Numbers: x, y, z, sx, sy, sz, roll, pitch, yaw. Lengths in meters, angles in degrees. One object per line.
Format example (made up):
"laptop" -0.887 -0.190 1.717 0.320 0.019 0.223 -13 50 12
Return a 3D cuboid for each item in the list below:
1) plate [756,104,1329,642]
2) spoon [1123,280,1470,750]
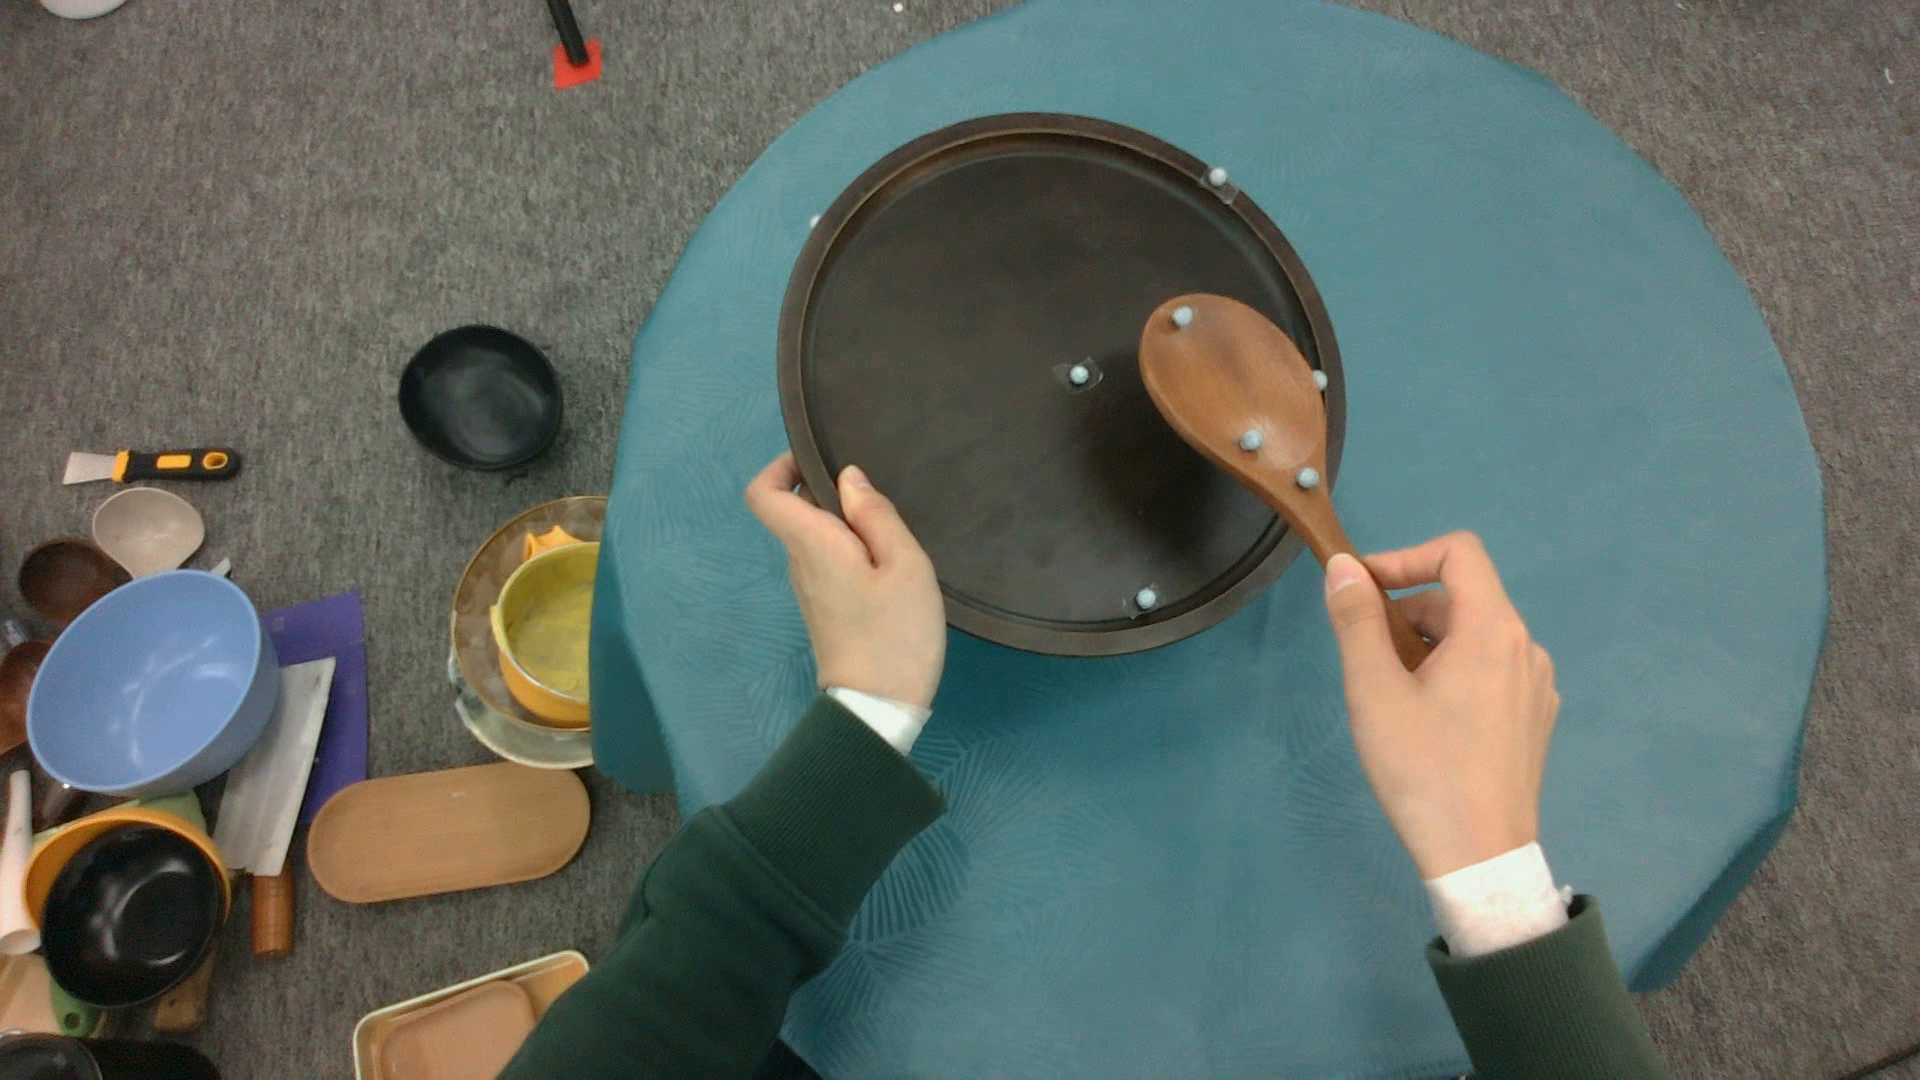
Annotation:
"plate" 0.038 -0.077 0.603 0.255 0.029 0.255 3 71 -9
"spoon" 0.129 -0.016 0.533 0.076 0.017 0.216 -15 64 -27
